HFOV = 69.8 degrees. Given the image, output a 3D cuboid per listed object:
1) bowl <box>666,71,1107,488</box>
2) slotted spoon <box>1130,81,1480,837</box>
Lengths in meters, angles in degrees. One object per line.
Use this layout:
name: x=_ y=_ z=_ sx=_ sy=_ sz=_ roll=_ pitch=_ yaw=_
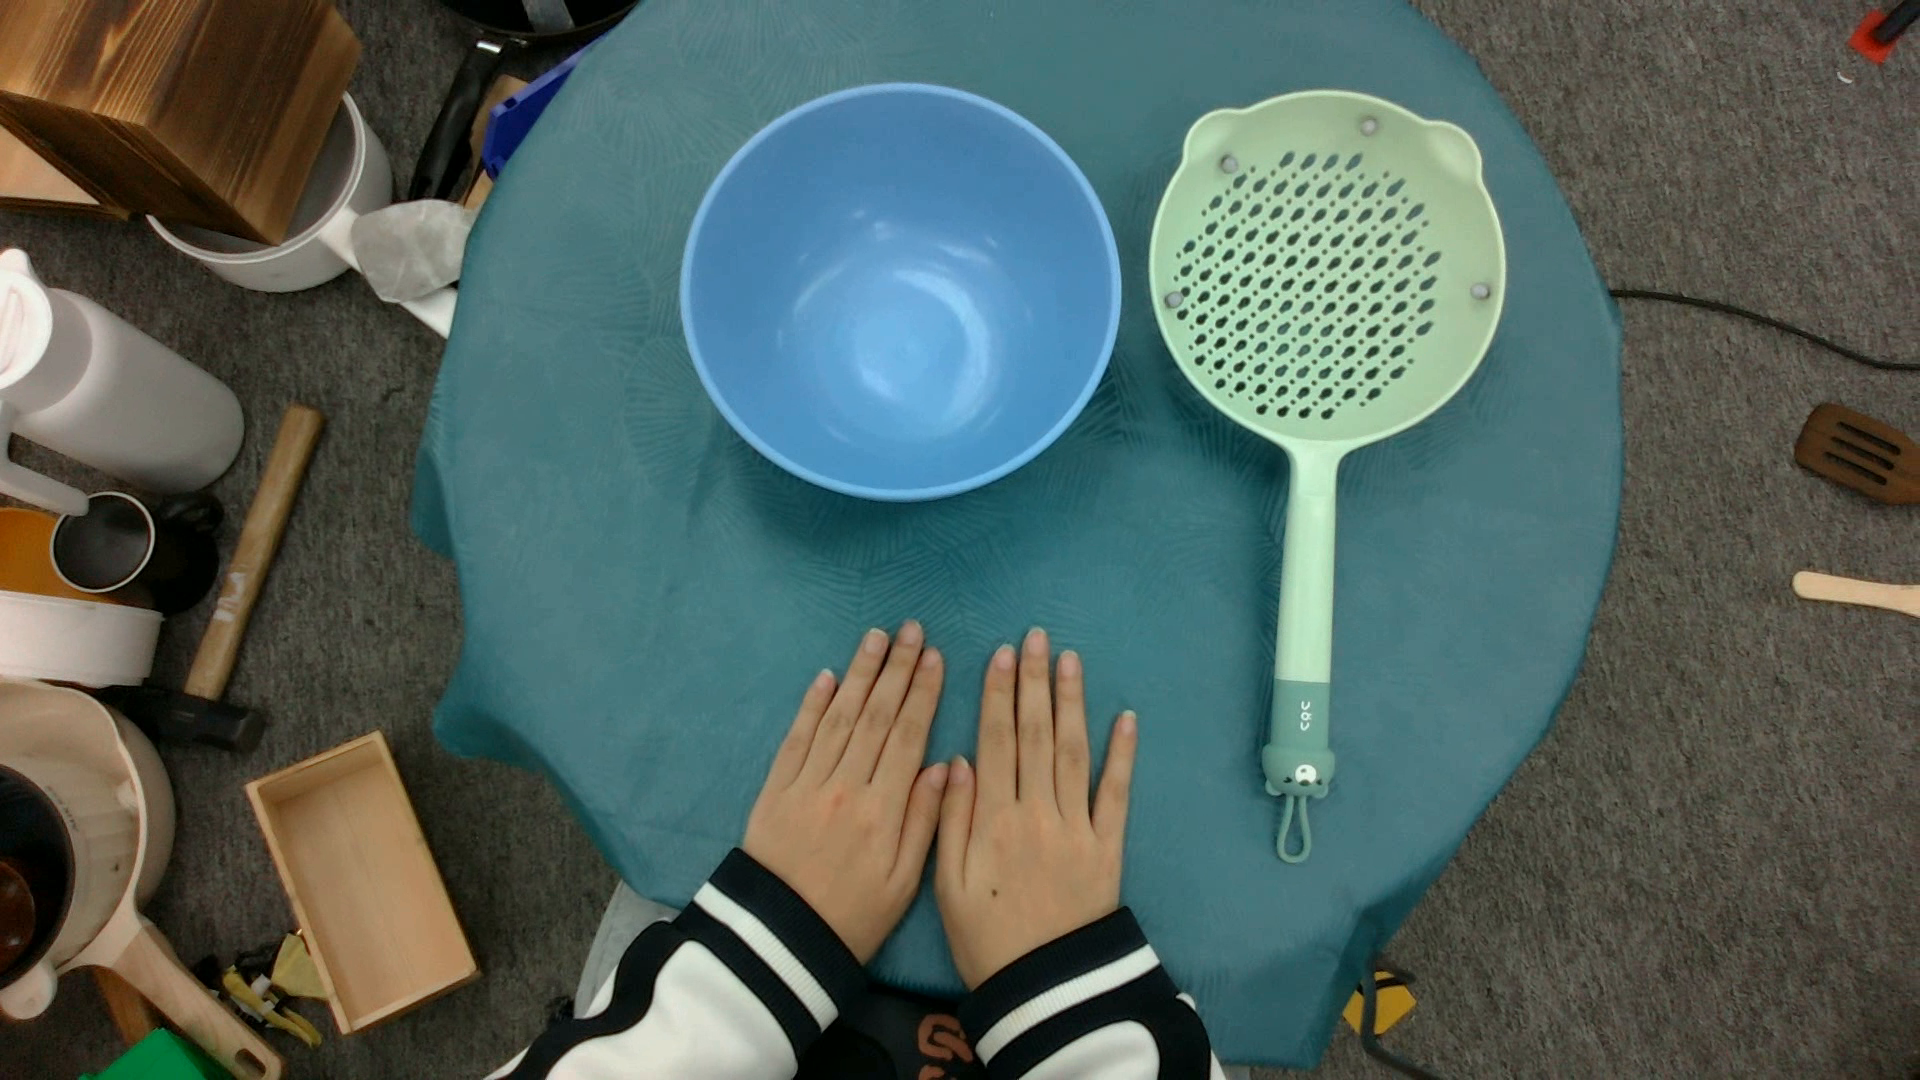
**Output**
bowl: x=-0.034 y=-0.111 z=0.657 sx=0.196 sy=0.095 sz=0.197 roll=1 pitch=78 yaw=-2
slotted spoon: x=0.159 y=-0.039 z=0.665 sx=0.169 sy=0.075 sz=0.359 roll=4 pitch=79 yaw=0
